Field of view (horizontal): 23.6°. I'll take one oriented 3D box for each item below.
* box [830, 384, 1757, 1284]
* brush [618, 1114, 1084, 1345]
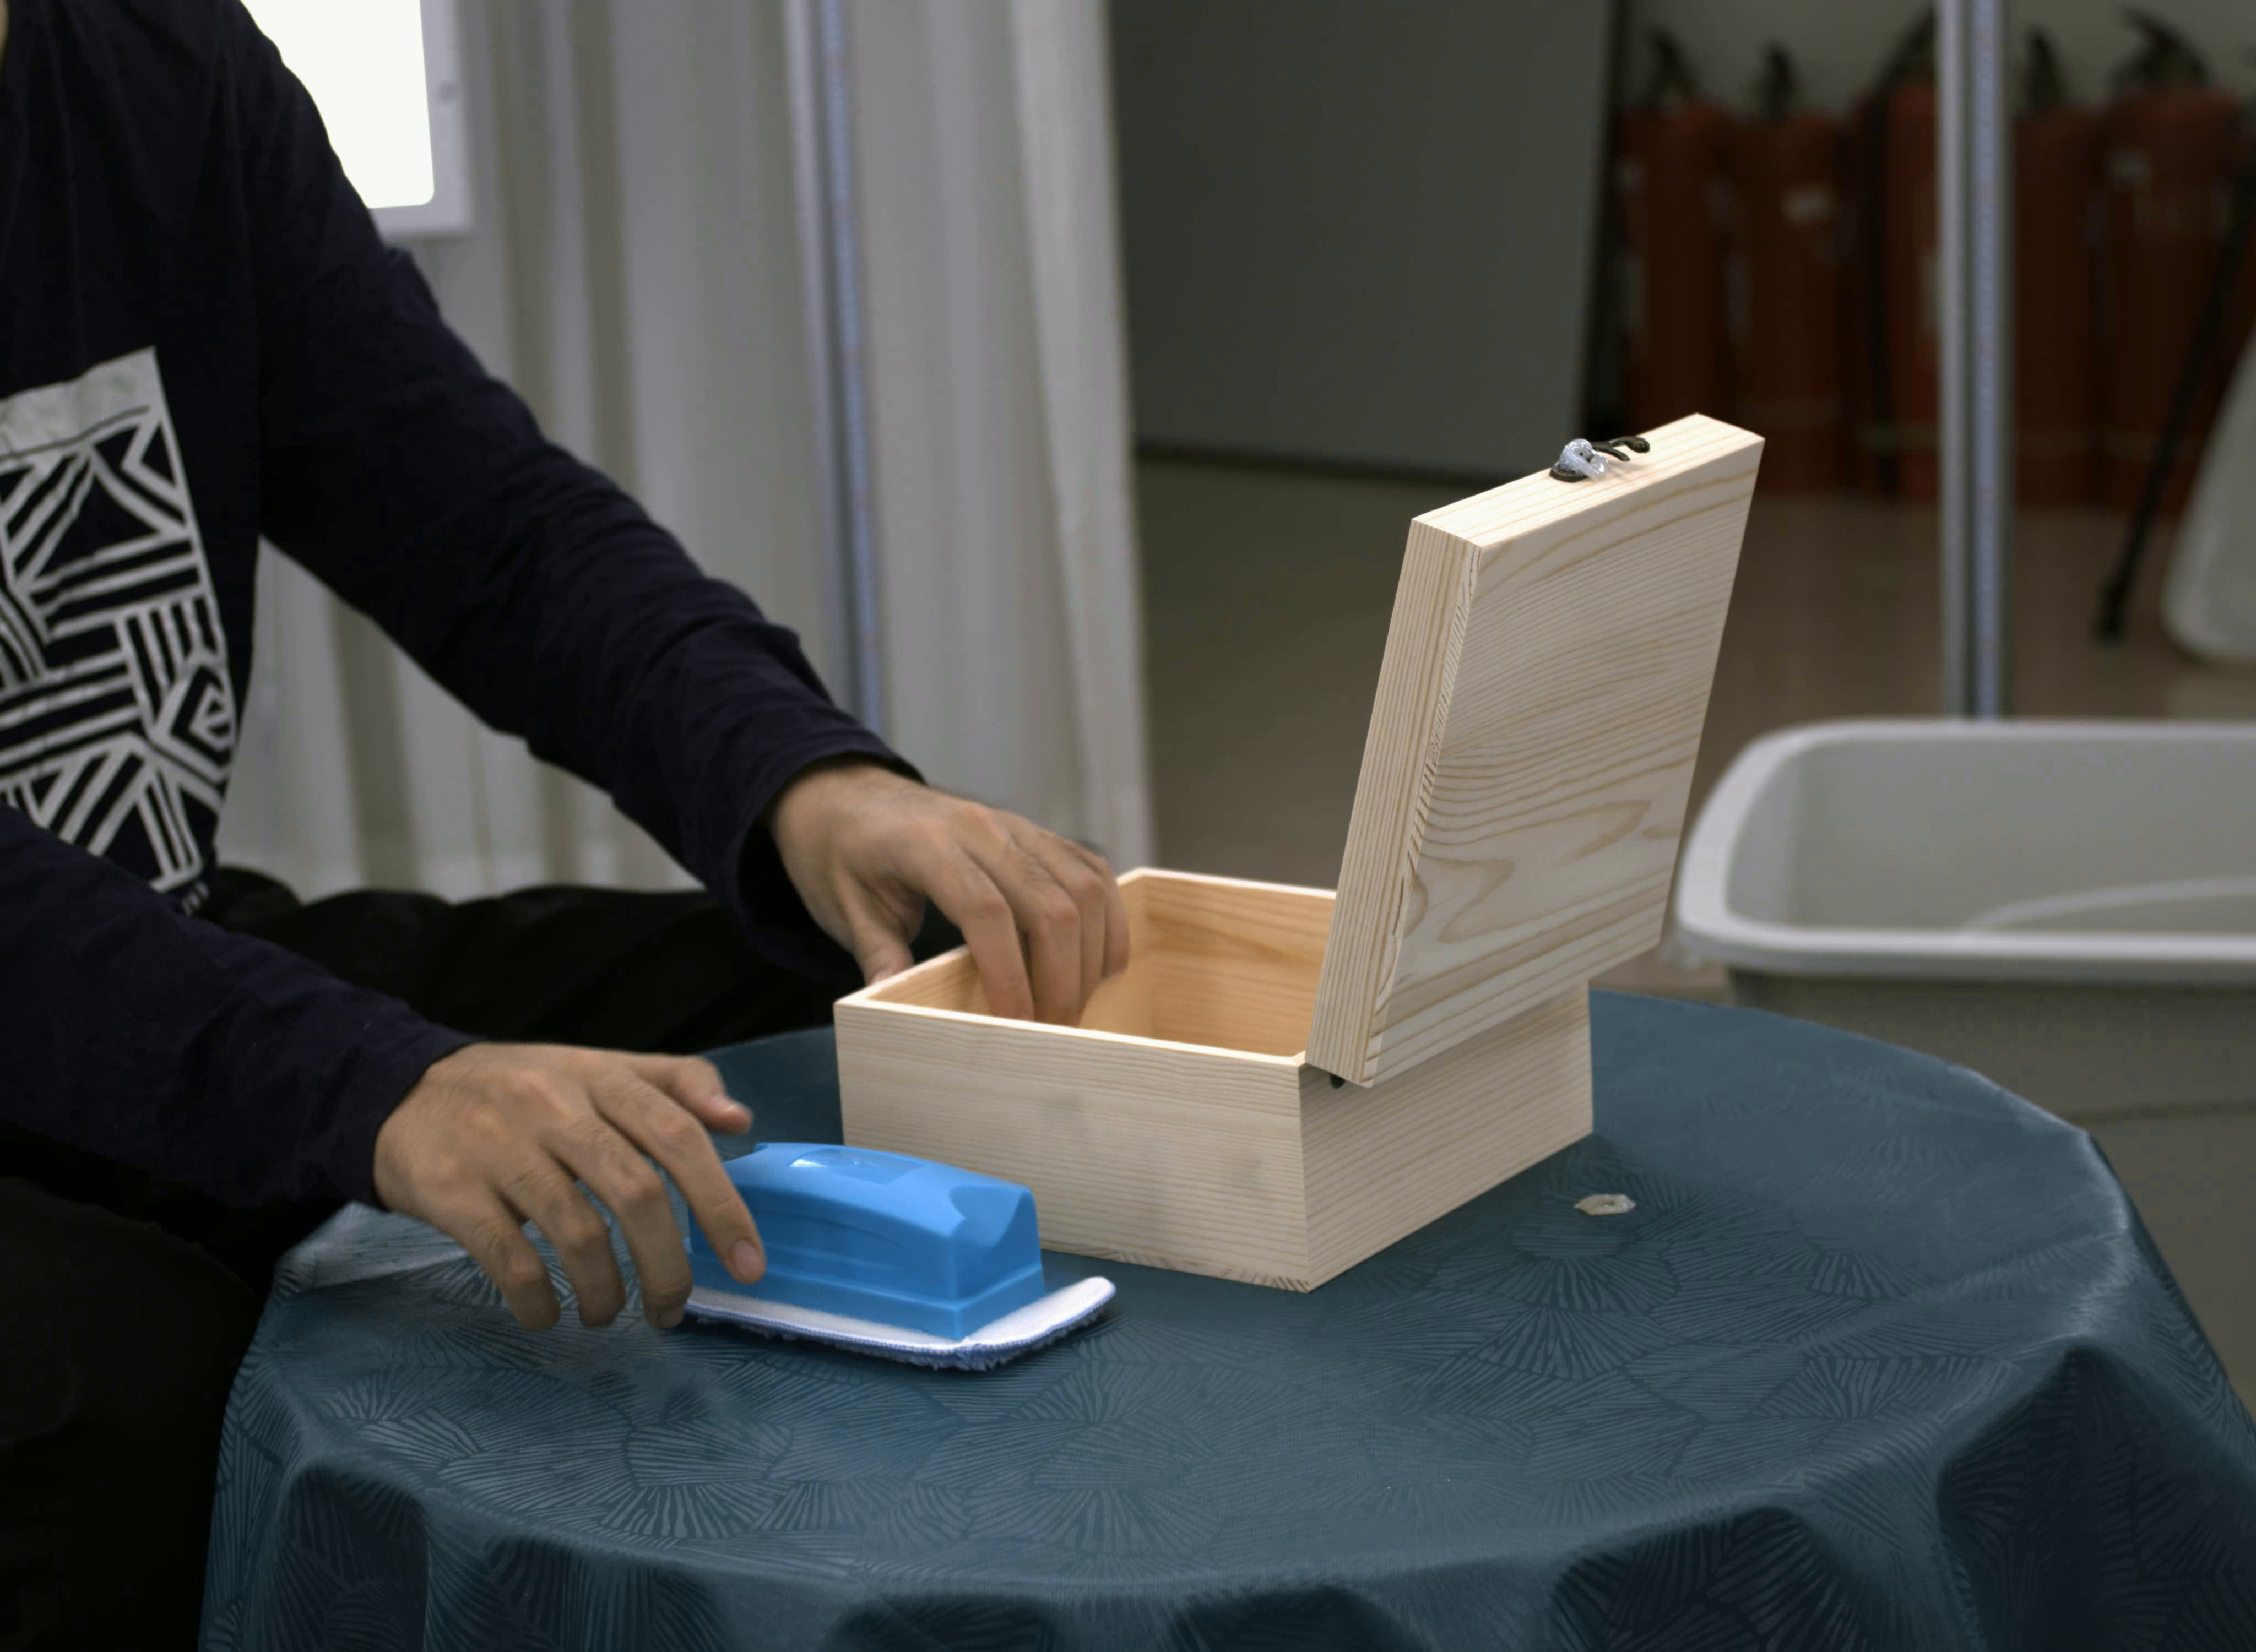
[{"bbox_3d":[0.050,-0.005,1.734,0.266,0.256,0.179,5,16,34],"label":"box"},{"bbox_3d":[-0.085,0.123,1.666,0.145,0.056,0.082,10,16,39],"label":"brush"}]
